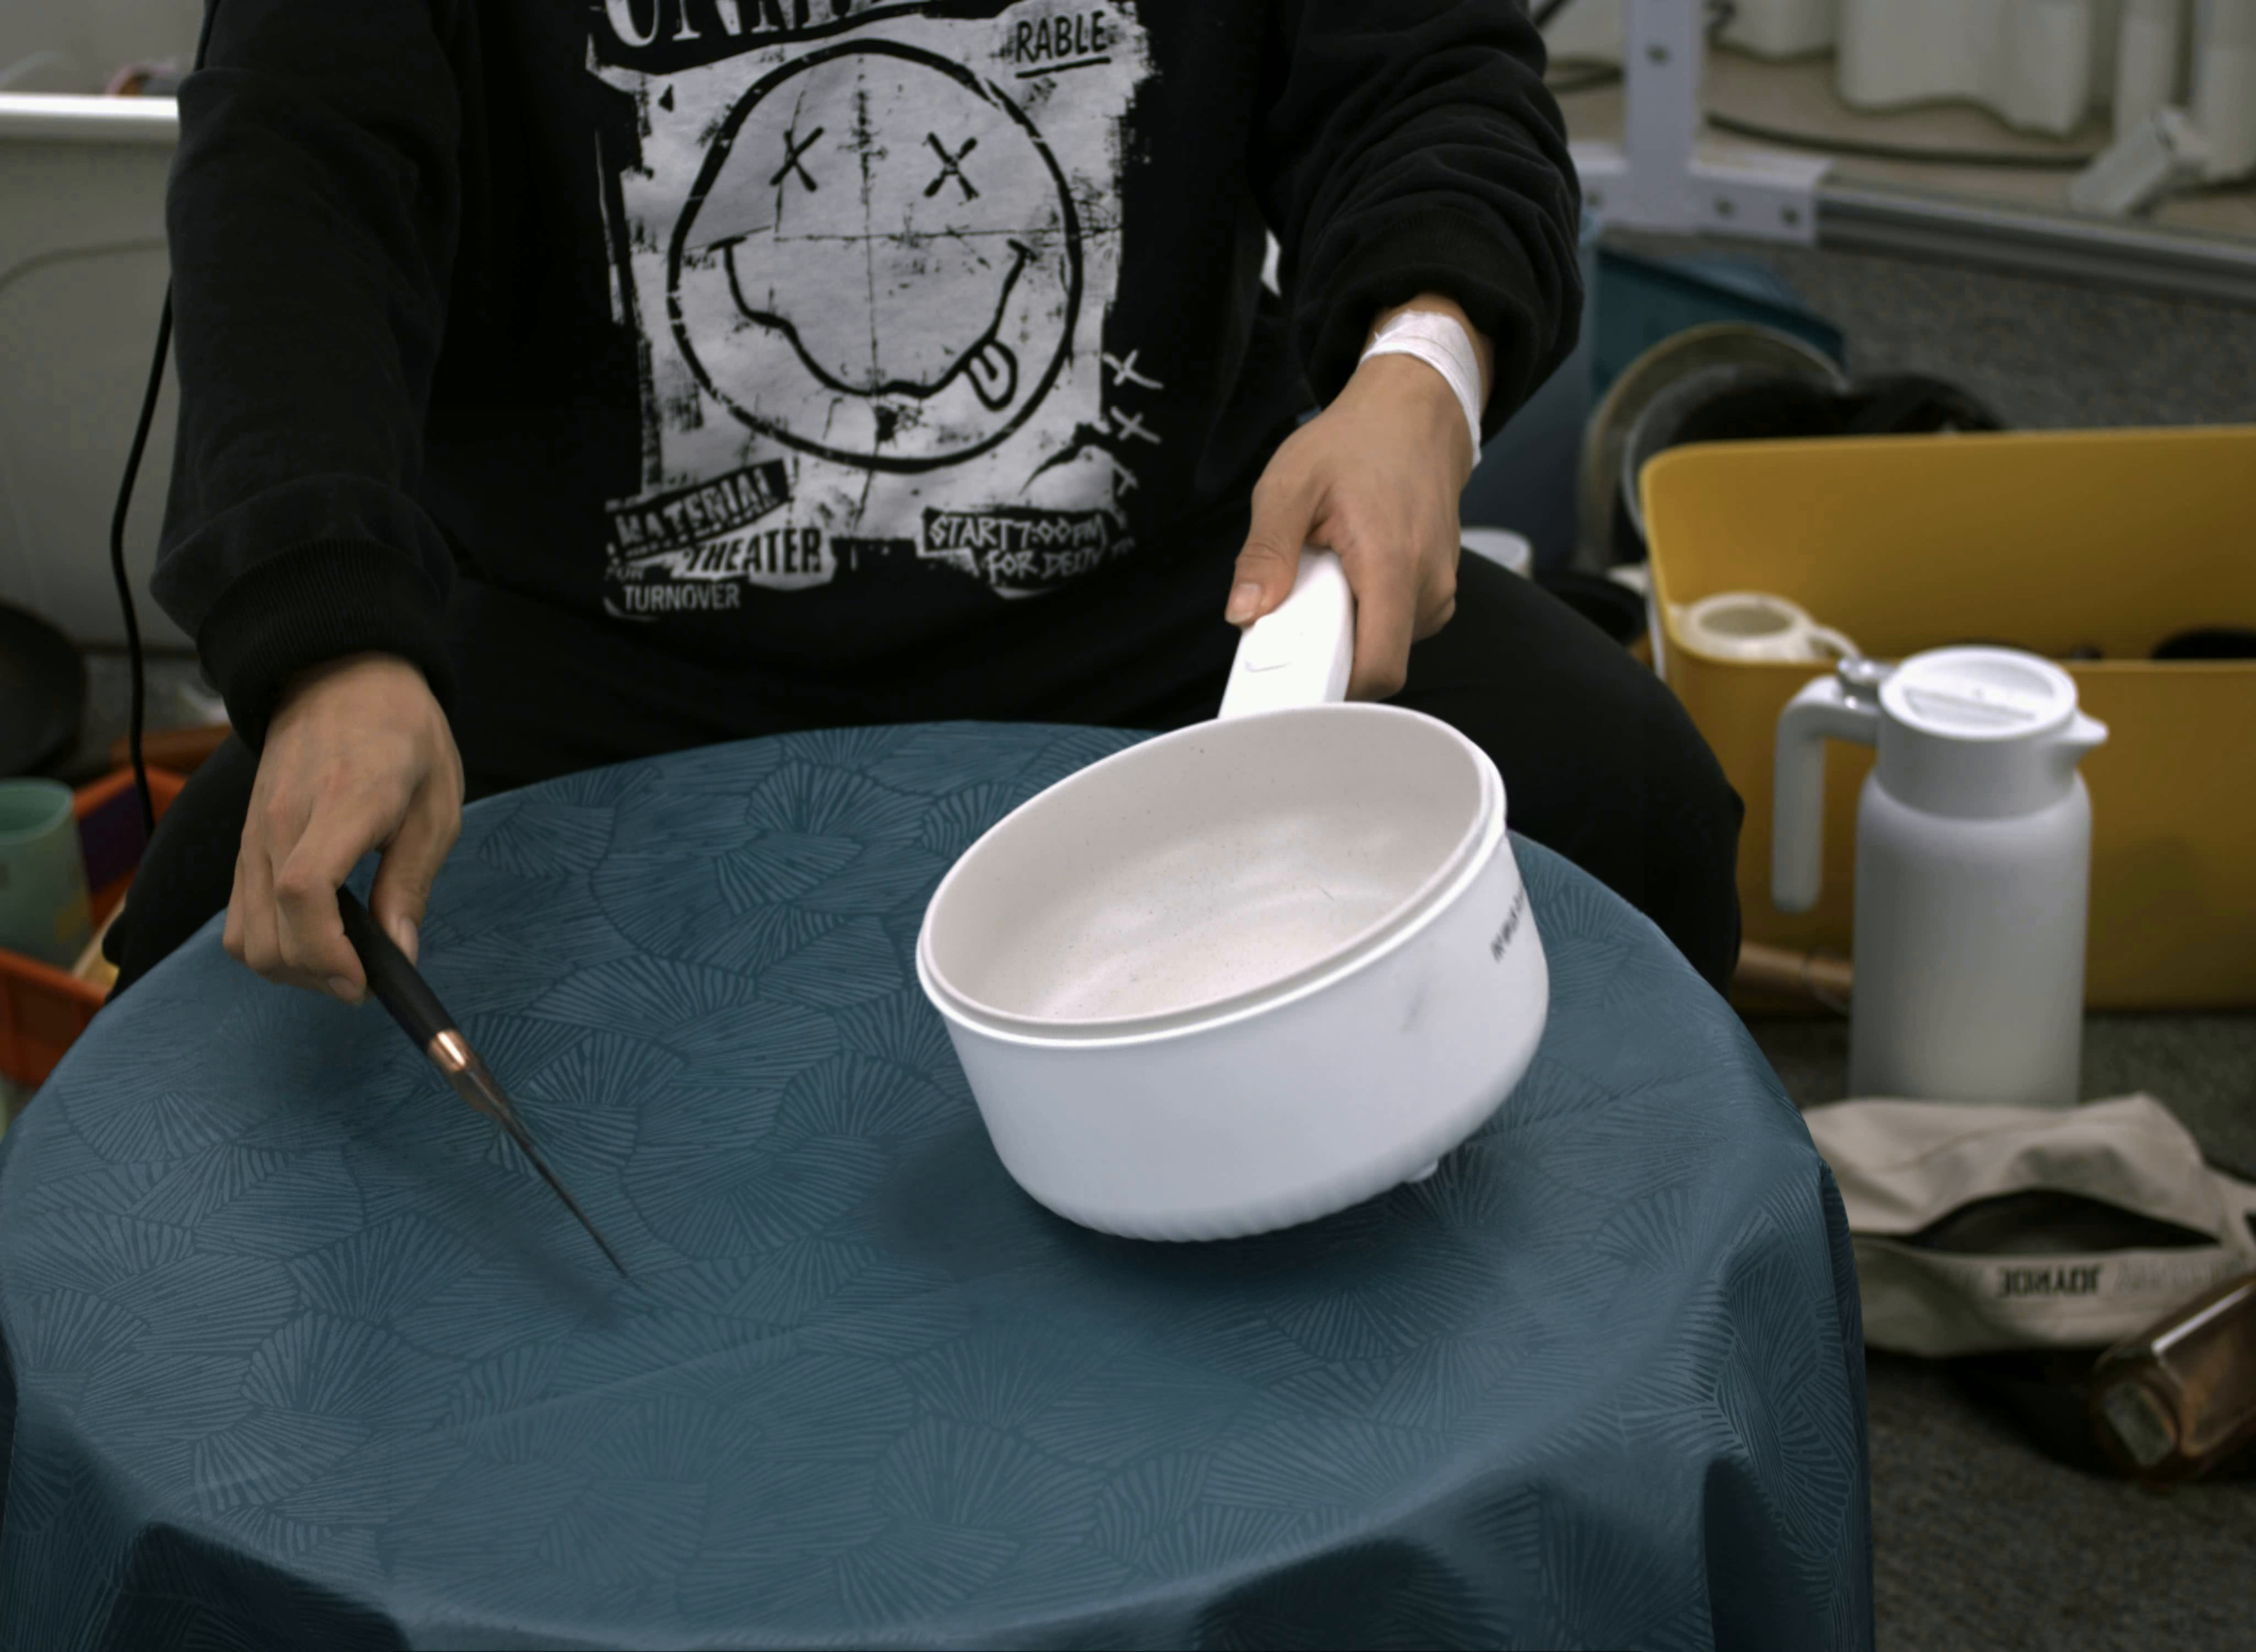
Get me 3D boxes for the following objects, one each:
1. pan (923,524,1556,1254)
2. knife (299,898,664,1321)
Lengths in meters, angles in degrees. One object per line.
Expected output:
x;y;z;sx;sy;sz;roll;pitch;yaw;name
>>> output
0.053;0.019;1.918;0.199;0.101;0.361;-12;26;16;pan
-0.216;0.093;1.868;0.017;0.026;0.227;-27;48;-24;knife
